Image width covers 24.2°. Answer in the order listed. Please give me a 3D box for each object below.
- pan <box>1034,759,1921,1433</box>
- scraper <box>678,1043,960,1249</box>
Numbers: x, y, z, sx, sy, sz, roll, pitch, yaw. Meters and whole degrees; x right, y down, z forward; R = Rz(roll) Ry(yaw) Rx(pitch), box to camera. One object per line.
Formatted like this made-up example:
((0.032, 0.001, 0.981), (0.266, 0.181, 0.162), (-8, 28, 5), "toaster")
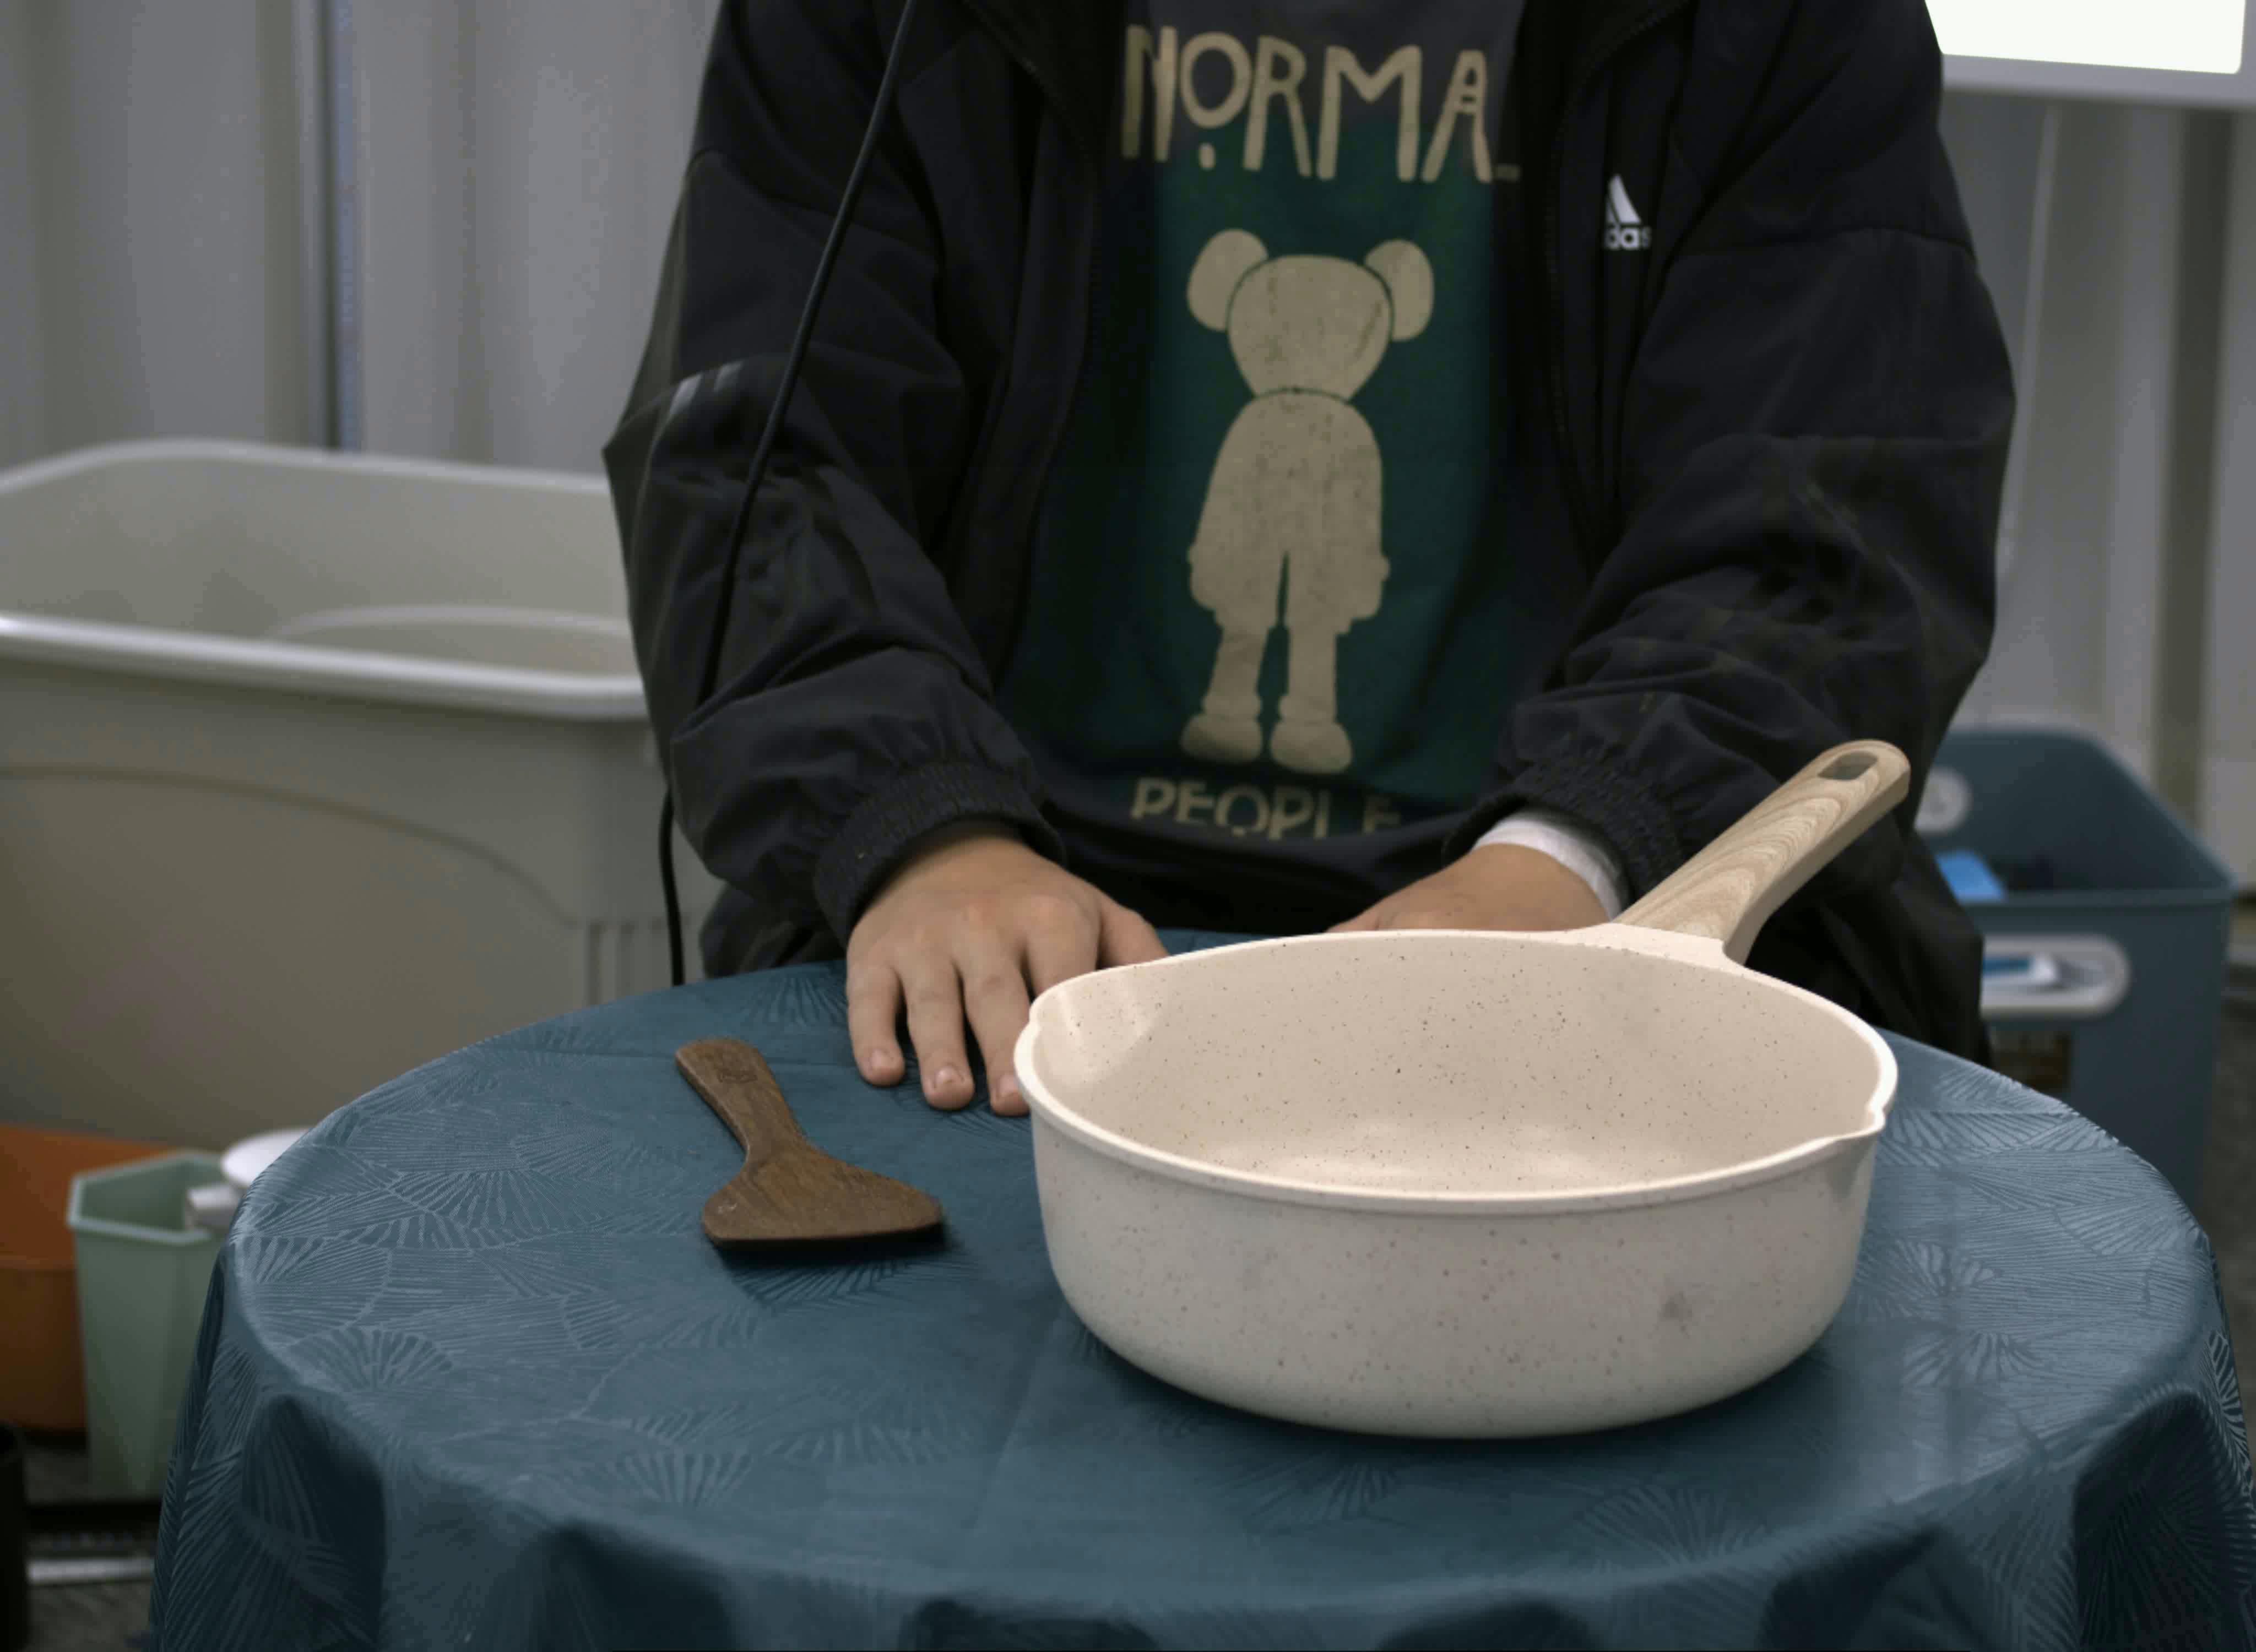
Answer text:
((0.143, 0.075, 1.580), (0.260, 0.103, 0.436), (7, 16, 28), "pan")
((-0.110, 0.100, 1.652), (0.076, 0.011, 0.209), (-2, 15, -15), "scraper")
